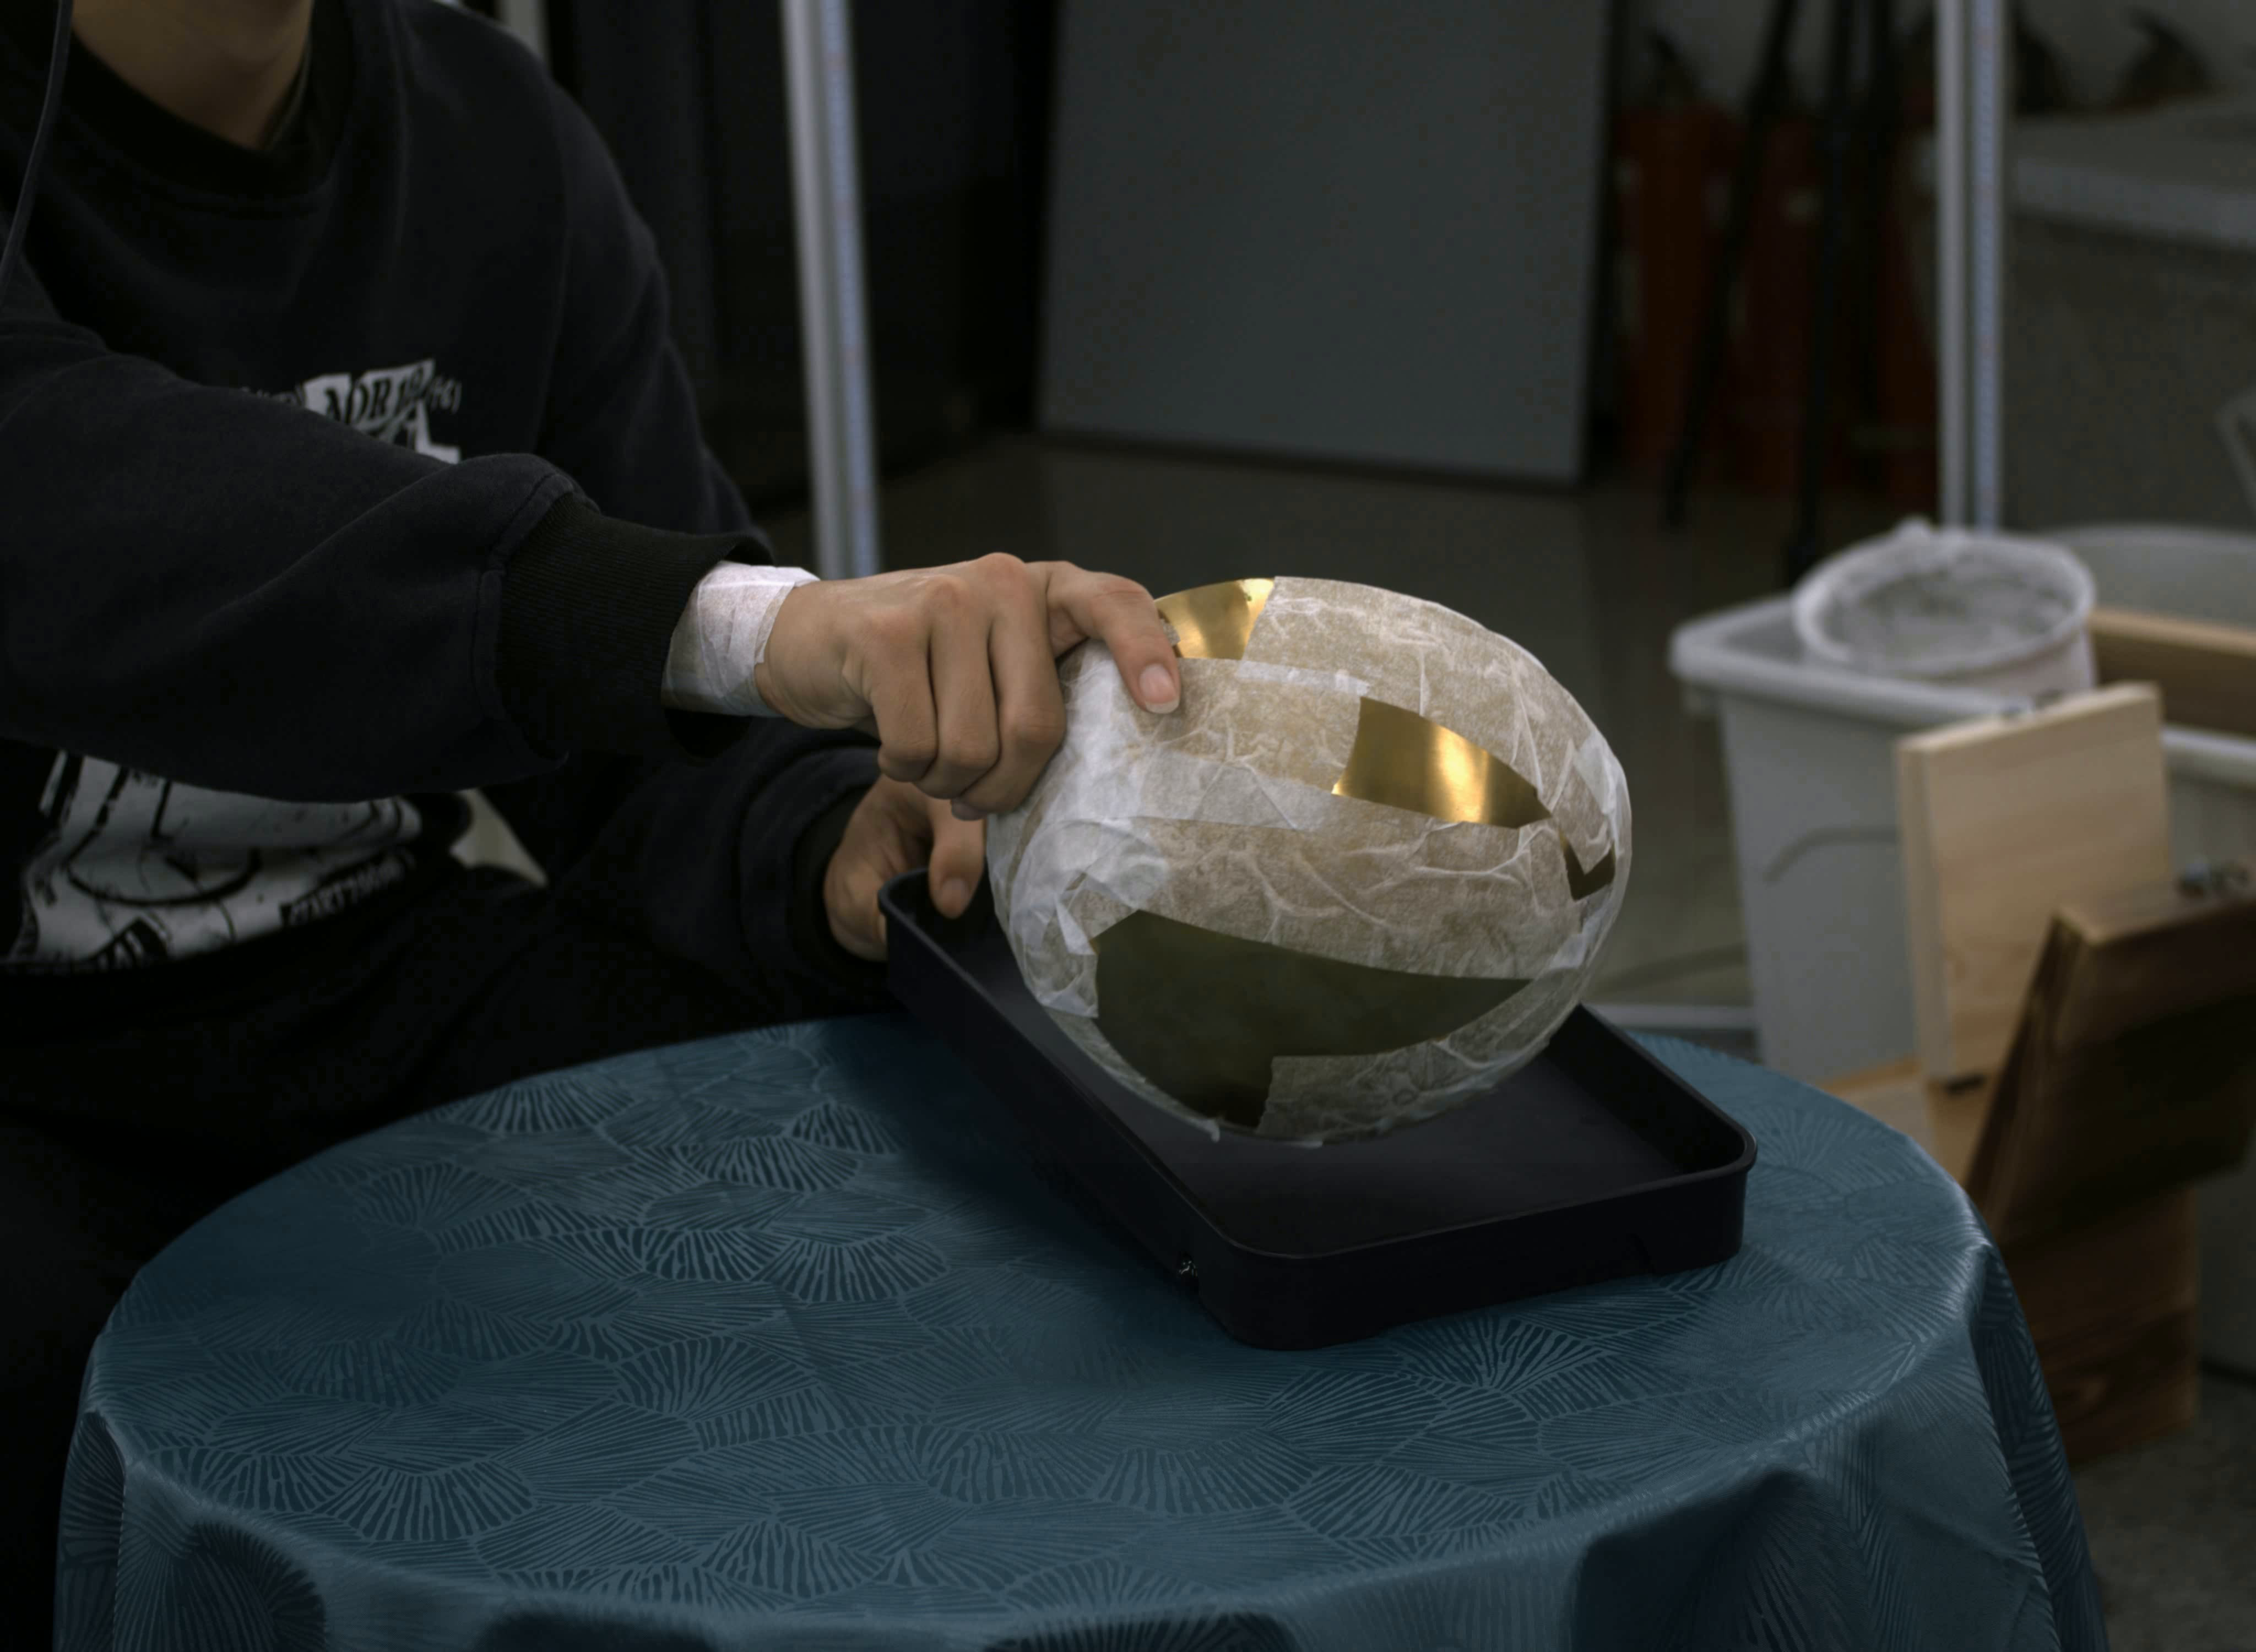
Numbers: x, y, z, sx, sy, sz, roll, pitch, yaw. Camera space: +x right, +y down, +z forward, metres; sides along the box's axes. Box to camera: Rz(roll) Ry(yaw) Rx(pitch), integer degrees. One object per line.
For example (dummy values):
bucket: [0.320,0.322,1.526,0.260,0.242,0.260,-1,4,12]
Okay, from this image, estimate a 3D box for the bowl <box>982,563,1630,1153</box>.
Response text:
bowl: [0.048,0.031,1.627,0.213,0.215,0.095,0,40,11]

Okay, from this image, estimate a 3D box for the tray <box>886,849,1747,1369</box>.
tray: [0.054,0.078,1.762,0.180,0.037,0.321,-9,26,-21]
